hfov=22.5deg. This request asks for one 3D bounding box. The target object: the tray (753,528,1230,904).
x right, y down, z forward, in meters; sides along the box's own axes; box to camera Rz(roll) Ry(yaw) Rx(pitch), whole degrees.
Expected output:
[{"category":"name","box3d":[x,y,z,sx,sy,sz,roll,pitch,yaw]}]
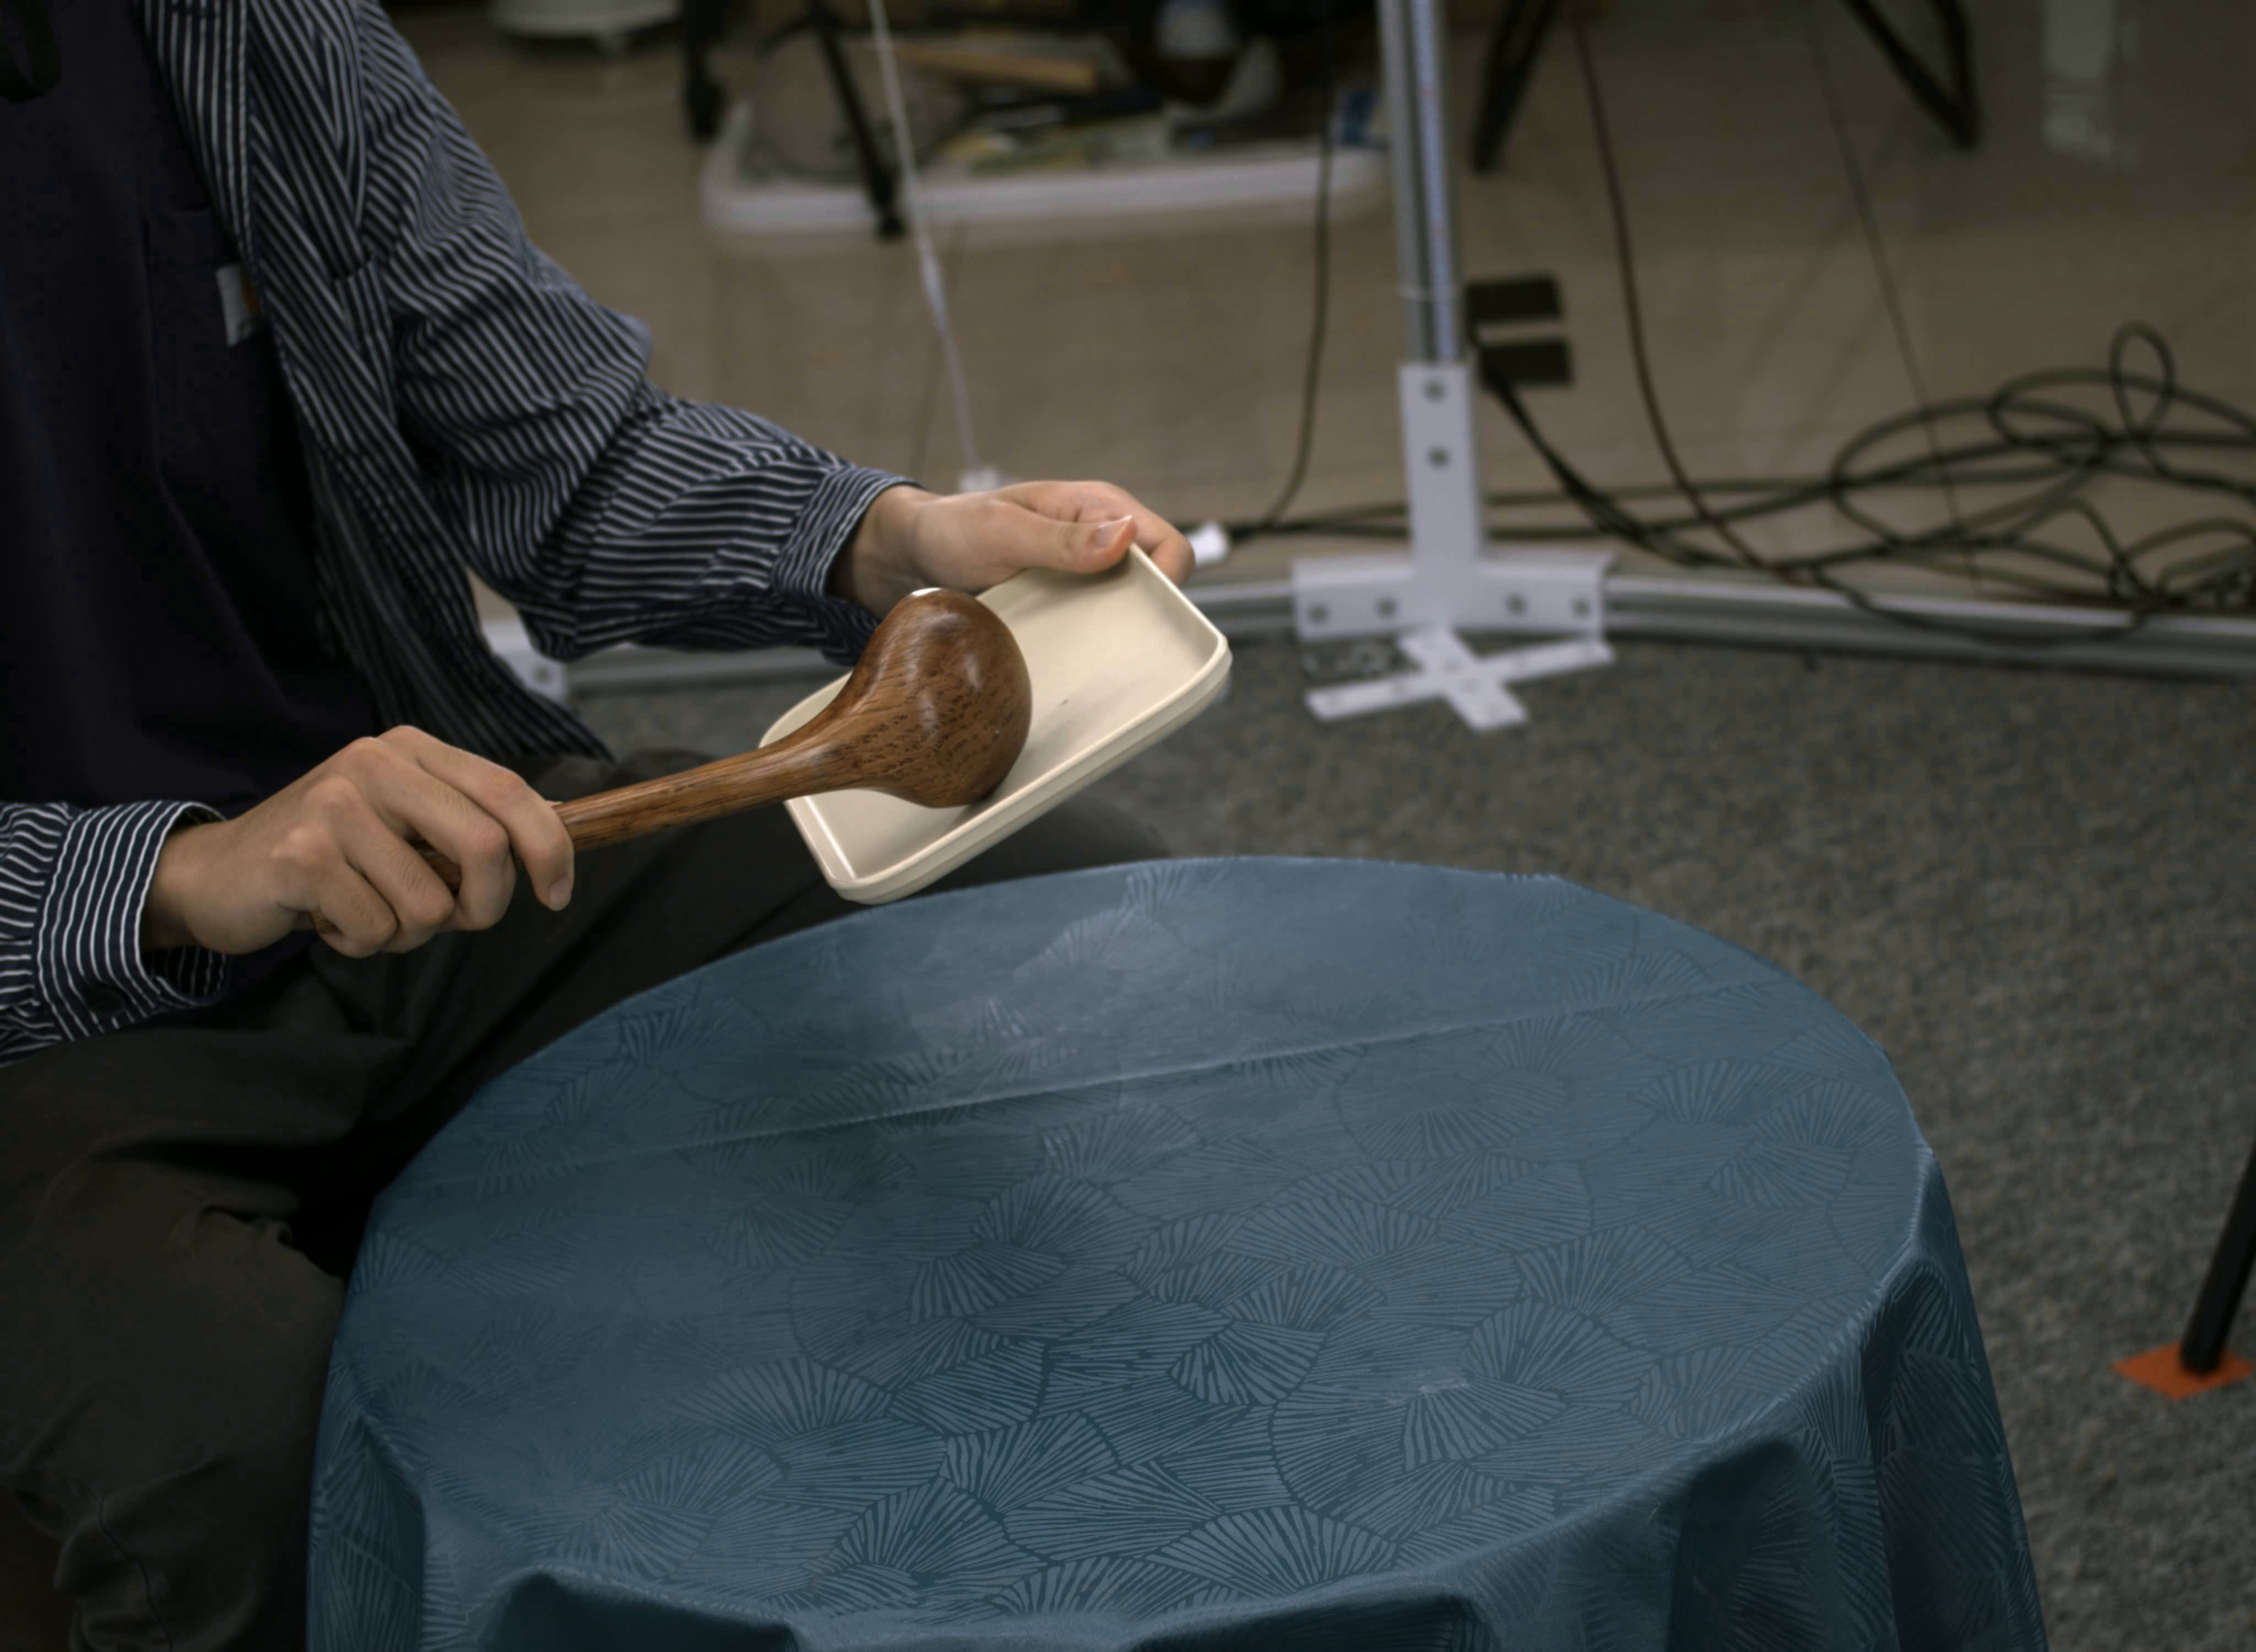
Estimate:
[{"category":"tray","box3d":[-0.052,-0.042,2.136,0.171,0.018,0.237,-32,20,-2]}]

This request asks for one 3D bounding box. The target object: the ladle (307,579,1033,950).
[{"category":"ladle","box3d":[-0.167,-0.018,2.067,0.274,0.082,0.076,-18,13,2]}]
